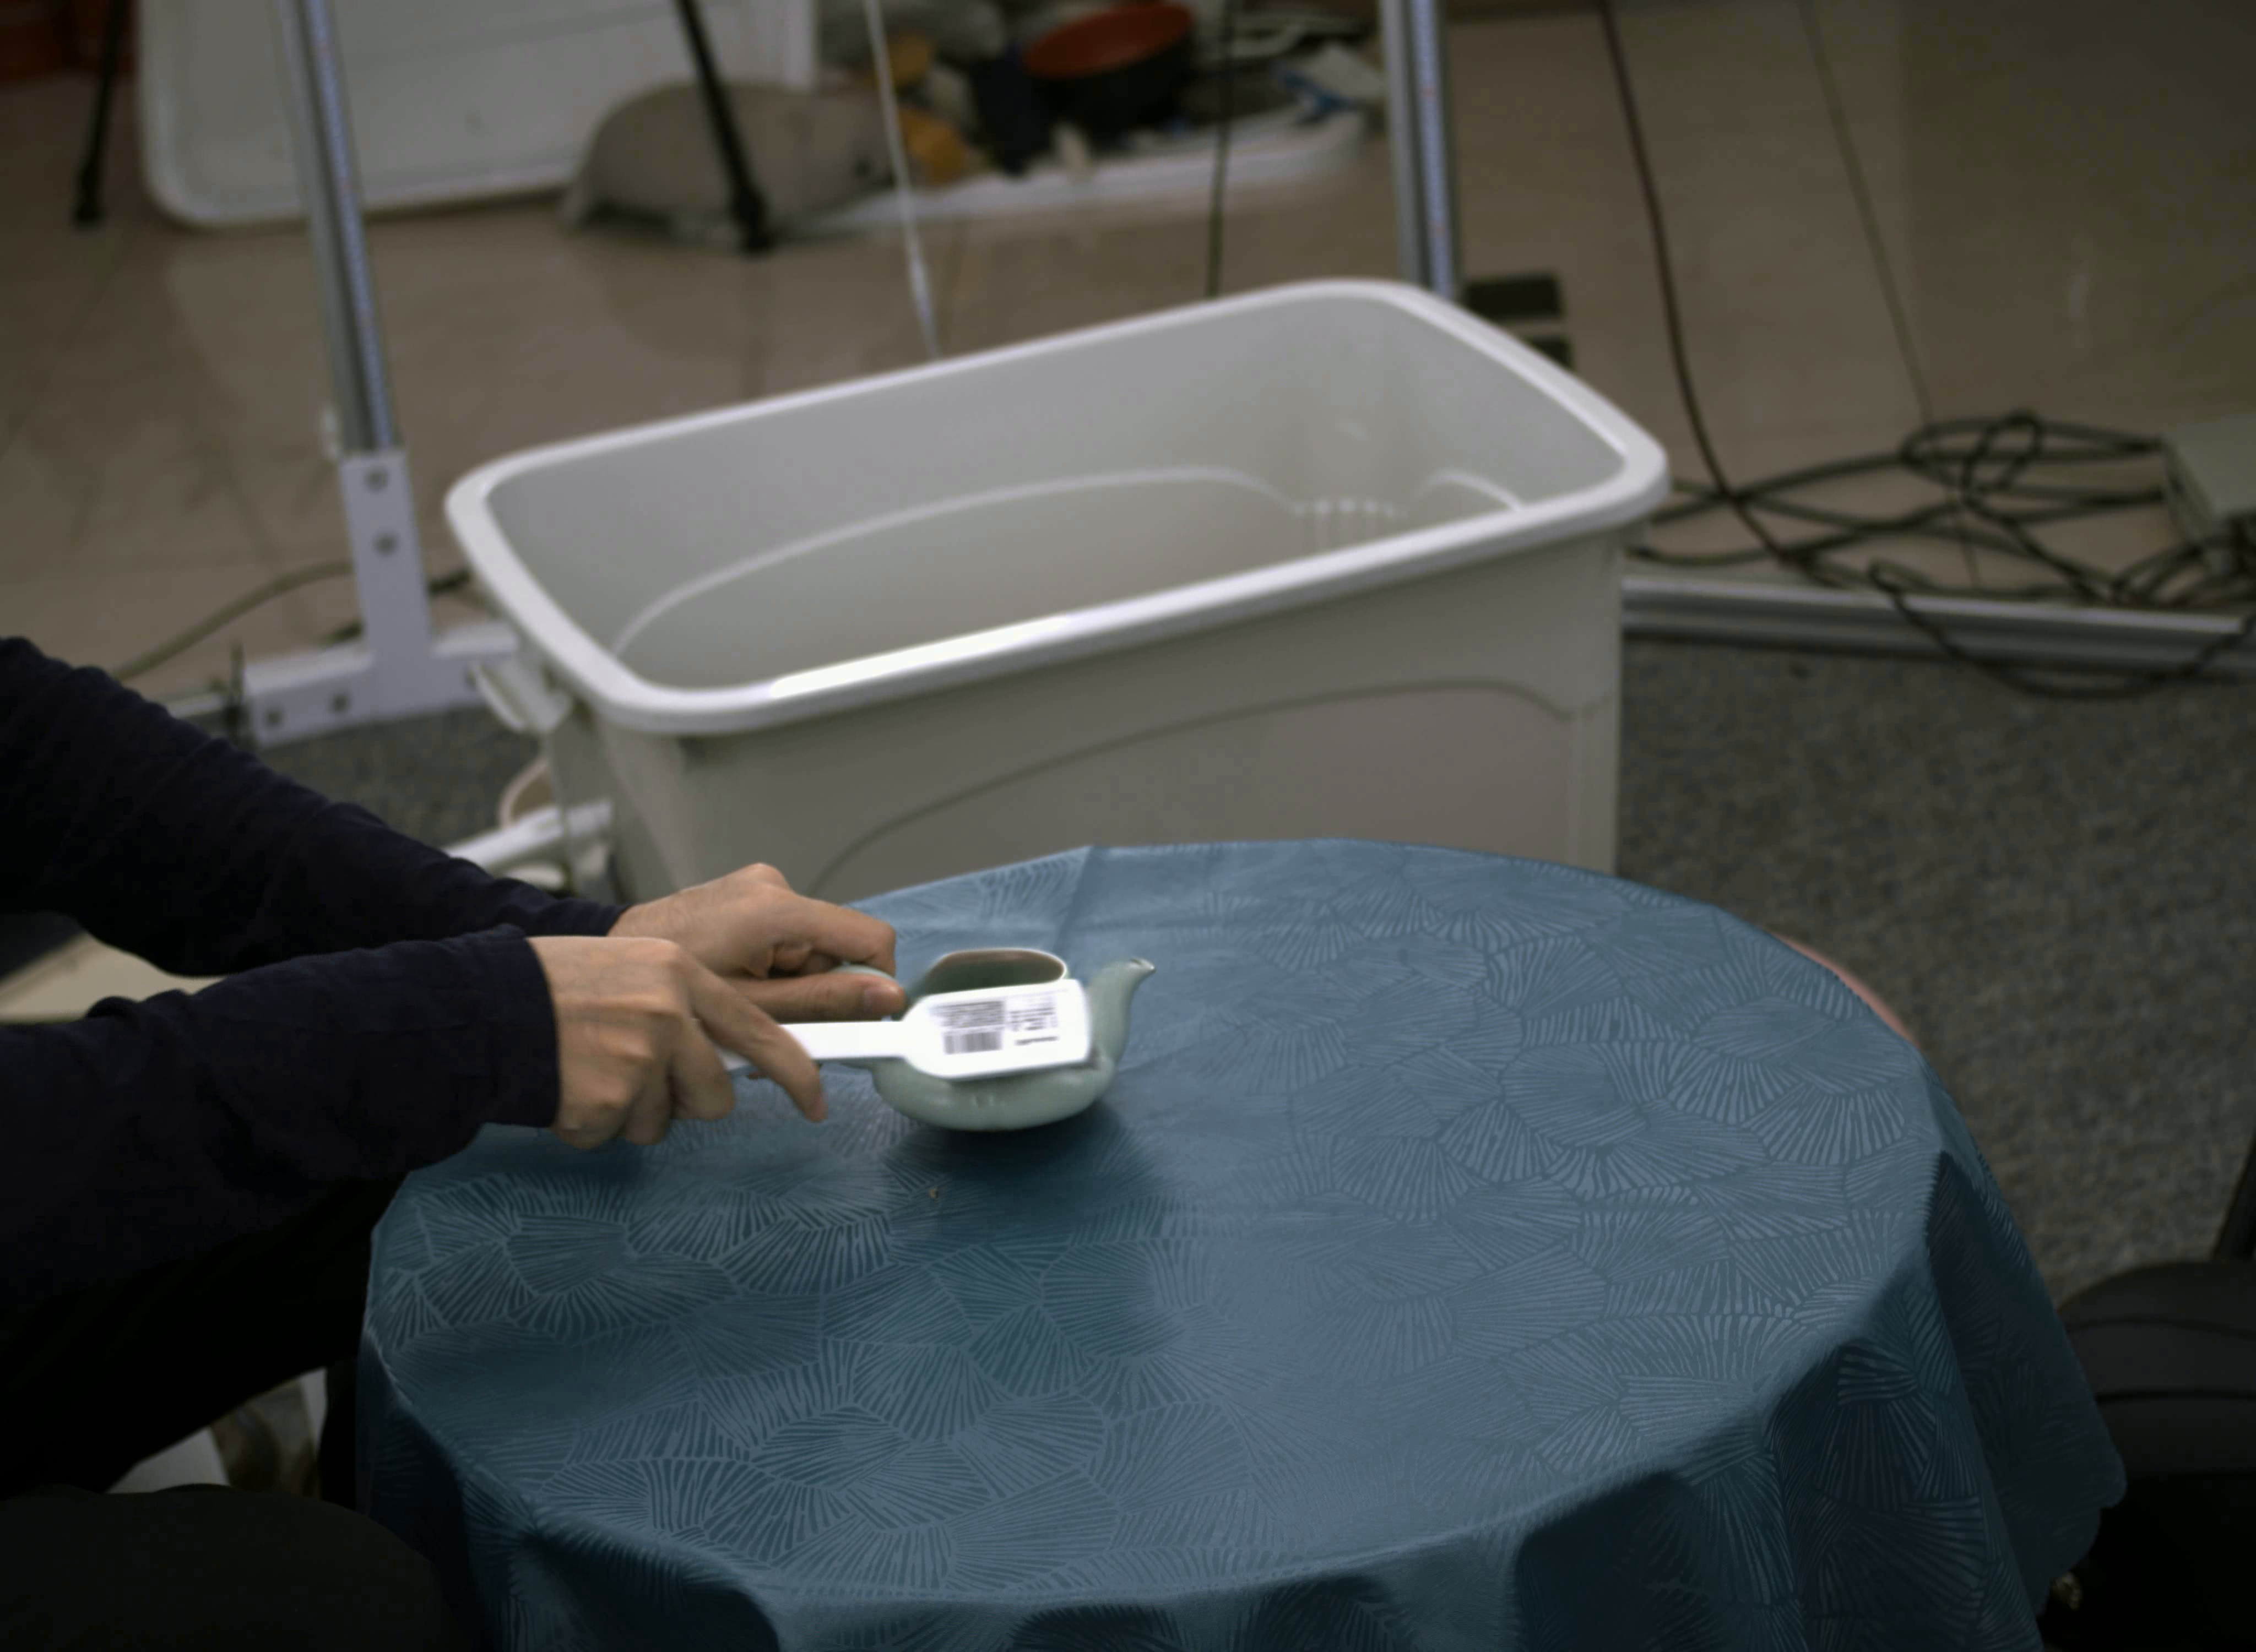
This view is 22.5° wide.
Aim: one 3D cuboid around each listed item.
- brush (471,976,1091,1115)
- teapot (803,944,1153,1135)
[{"bbox_3d":[-0.129,0.086,2.117,0.243,0.034,0.050,-6,-8,-17],"label":"brush"},{"bbox_3d":[-0.058,0.082,2.203,0.137,0.062,0.095,-2,21,-3],"label":"teapot"}]
